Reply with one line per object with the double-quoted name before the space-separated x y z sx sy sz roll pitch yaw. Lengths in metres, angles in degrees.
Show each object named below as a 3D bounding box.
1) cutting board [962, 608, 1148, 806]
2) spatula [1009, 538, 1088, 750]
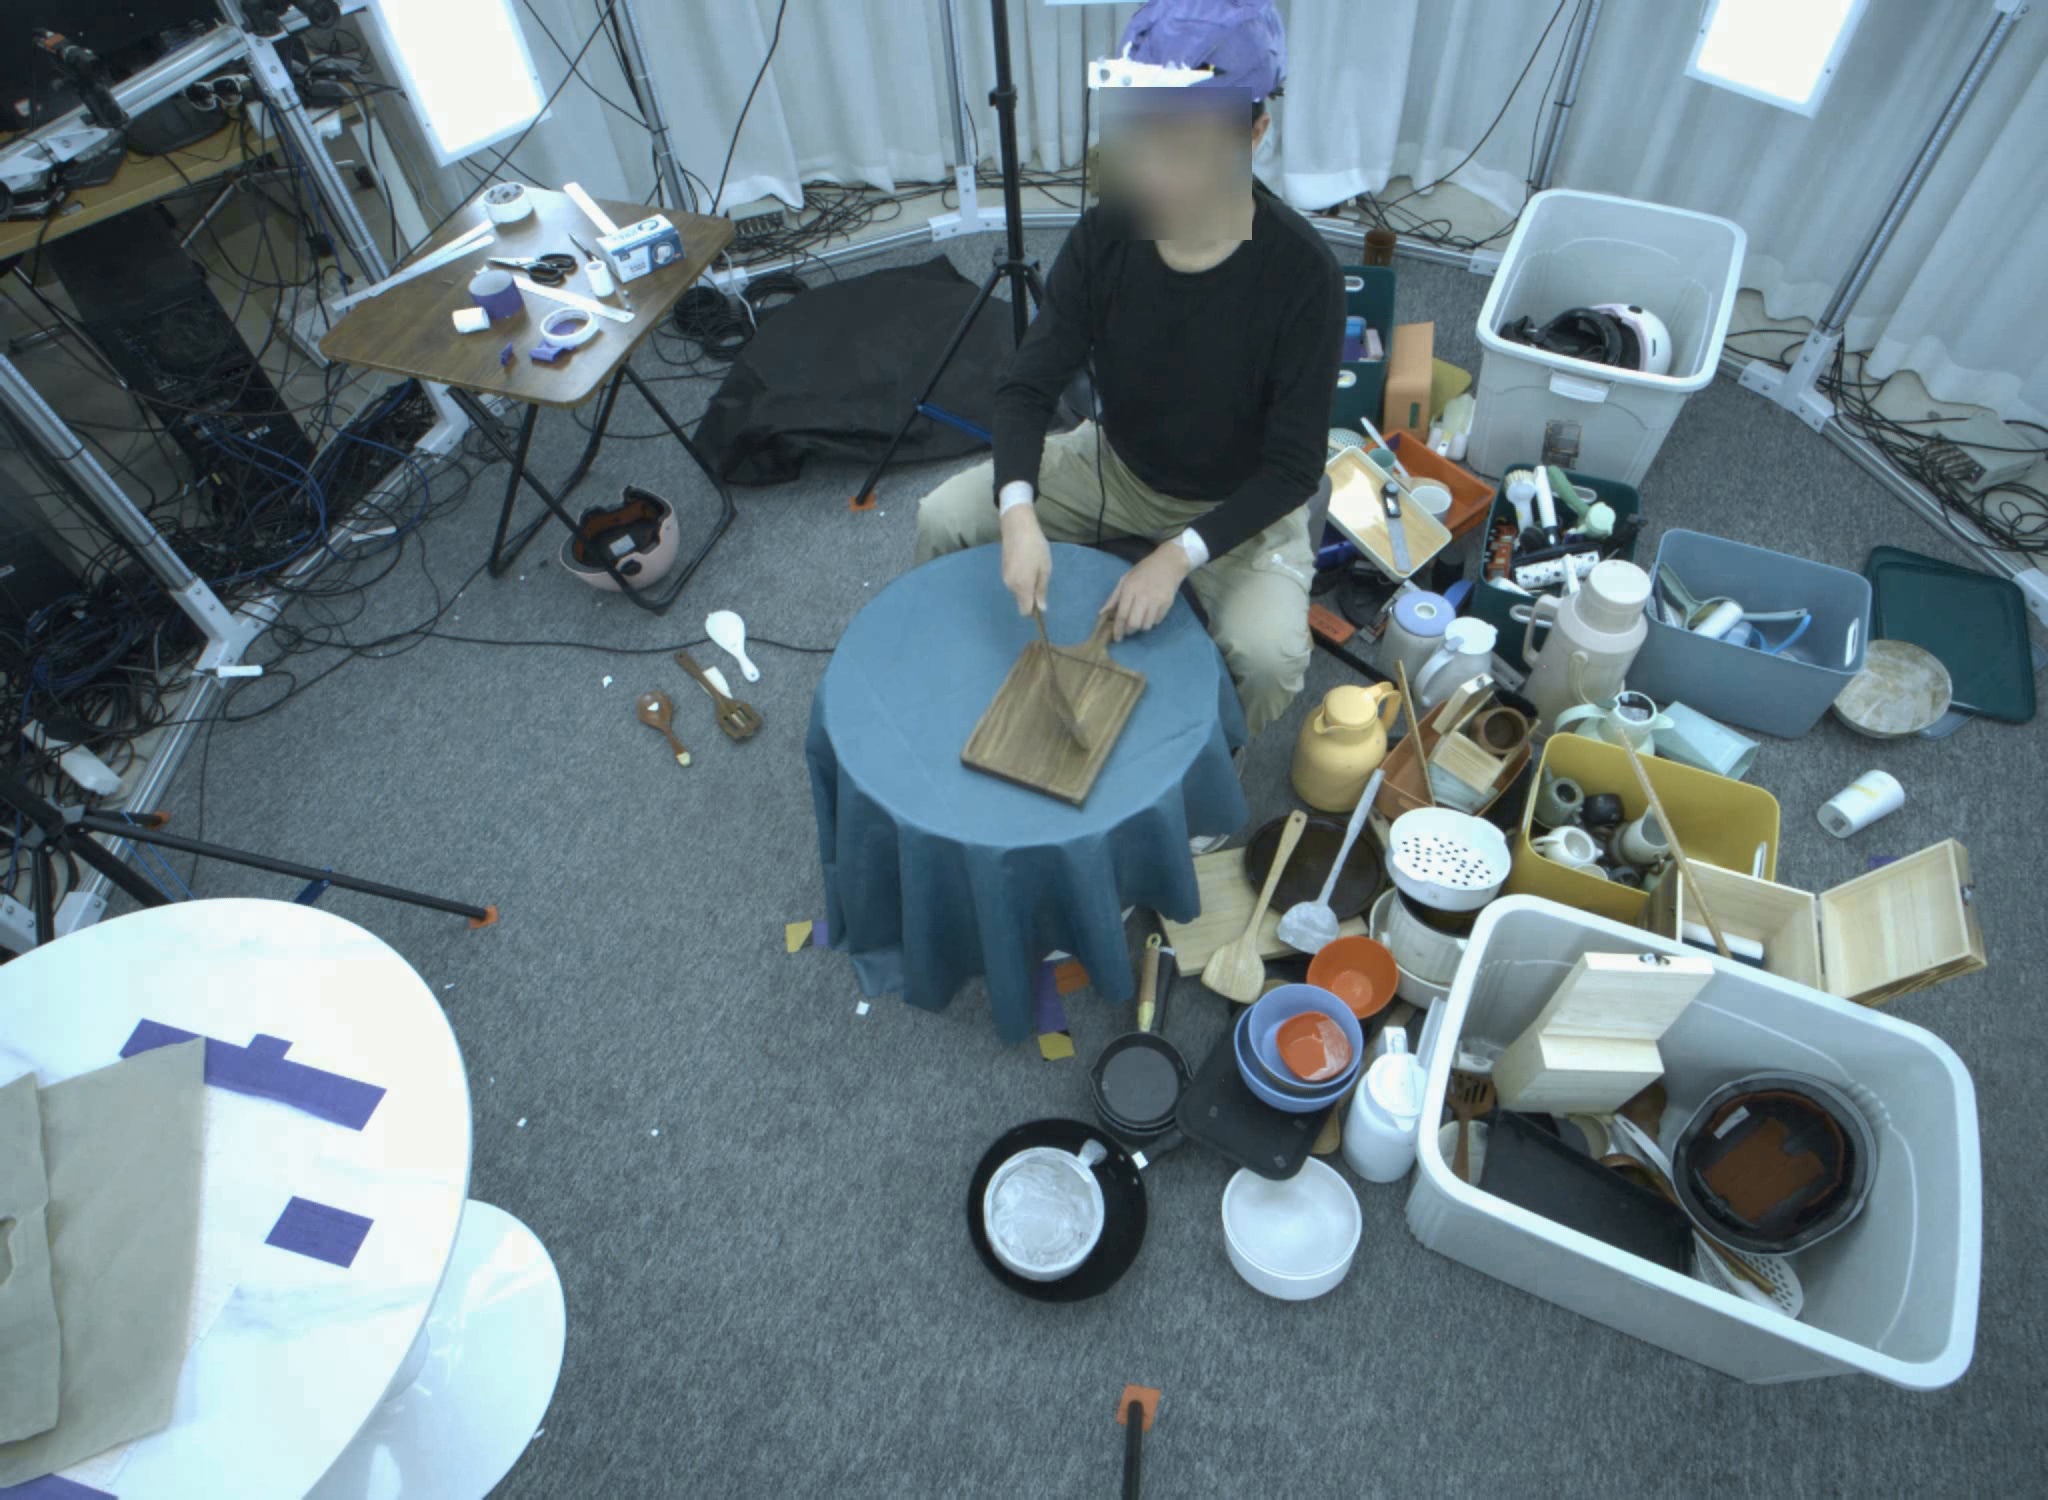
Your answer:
"cutting board" 0.069 -0.083 1.832 0.199 0.023 0.352 20 58 15
"spatula" 0.029 -0.168 1.811 0.015 0.098 0.380 -23 61 14
